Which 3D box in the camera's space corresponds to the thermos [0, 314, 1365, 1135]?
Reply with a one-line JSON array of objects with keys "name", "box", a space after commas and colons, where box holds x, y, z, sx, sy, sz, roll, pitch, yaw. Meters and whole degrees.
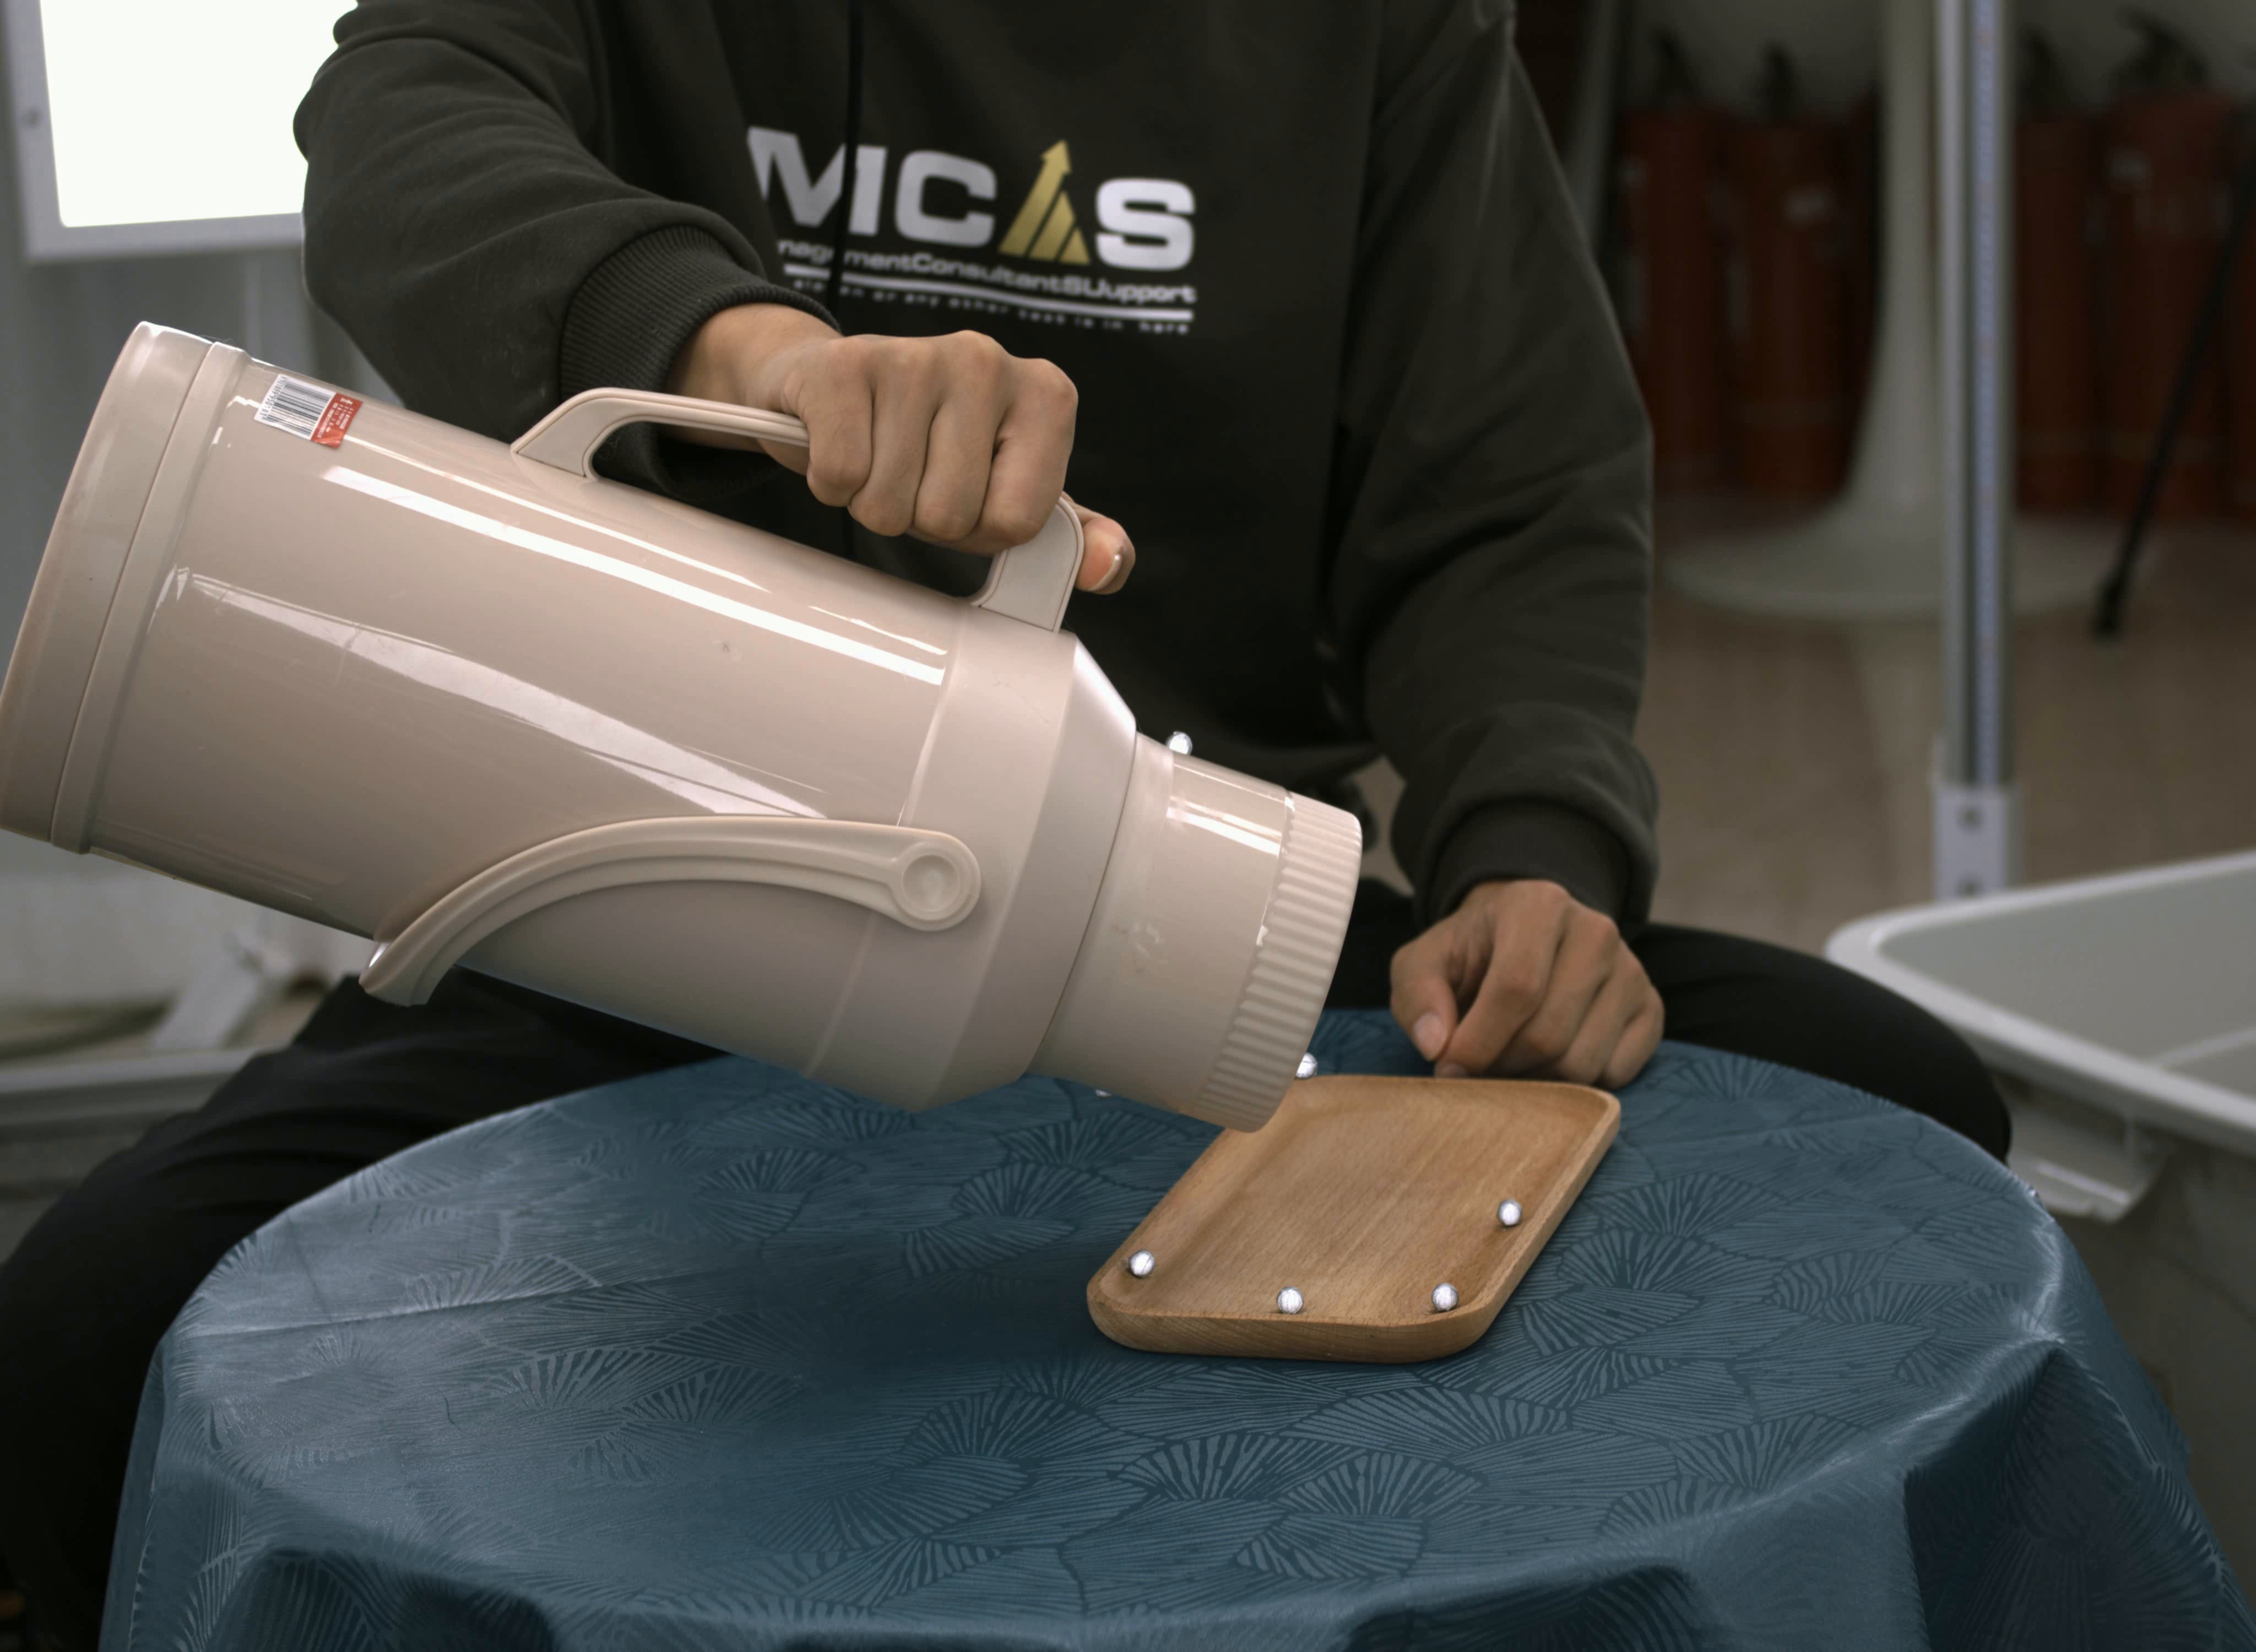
[{"name": "thermos", "box": [-0.128, -0.030, 1.639, 0.401, 0.209, 0.175, 18, 4, -3]}]

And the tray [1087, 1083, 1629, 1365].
[{"name": "tray", "box": [0.077, 0.124, 1.713, 0.130, 0.023, 0.248, 3, 14, 18]}]
